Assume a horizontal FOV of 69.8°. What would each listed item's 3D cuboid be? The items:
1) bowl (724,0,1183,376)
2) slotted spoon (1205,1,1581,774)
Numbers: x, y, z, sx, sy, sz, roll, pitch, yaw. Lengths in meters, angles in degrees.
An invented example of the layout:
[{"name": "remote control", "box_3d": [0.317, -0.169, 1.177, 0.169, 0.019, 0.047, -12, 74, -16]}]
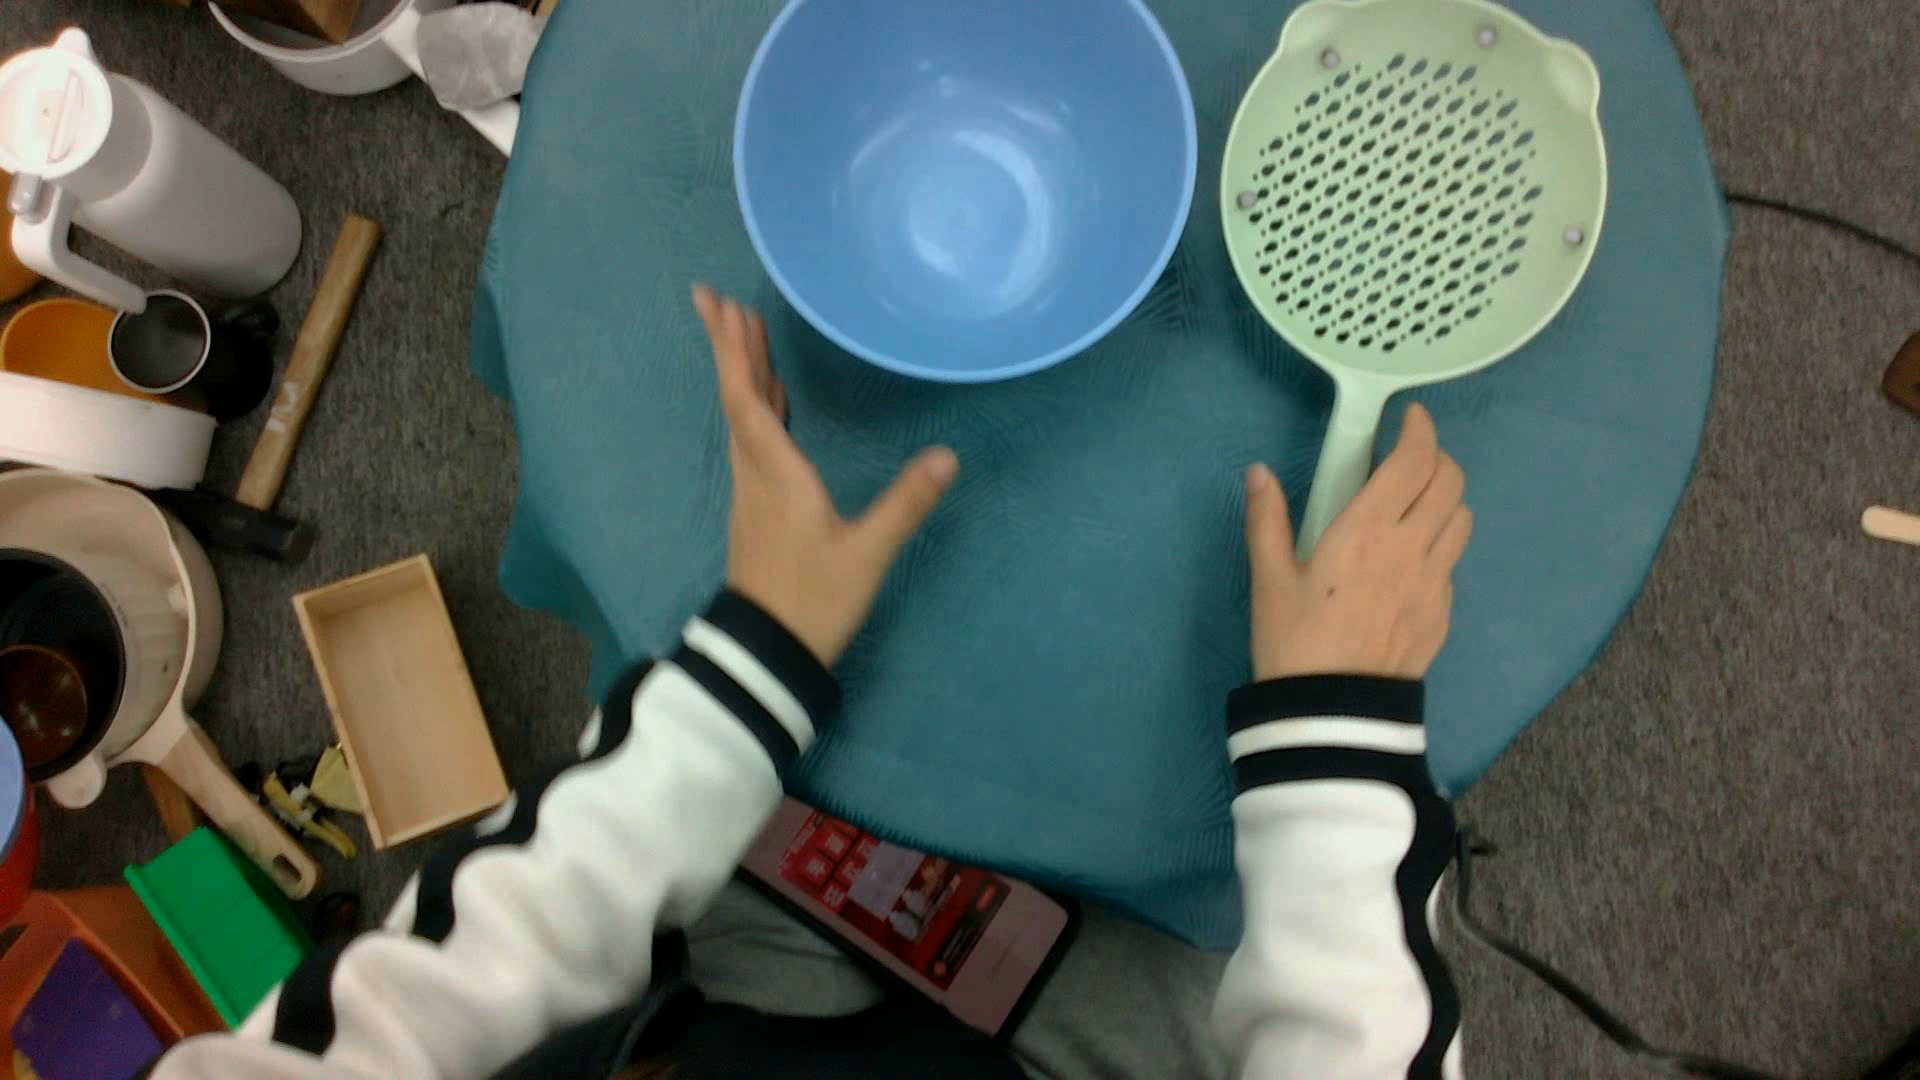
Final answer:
[{"name": "bowl", "box_3d": [-0.003, -0.162, 0.633, 0.196, 0.095, 0.196, 0, 83, -1]}, {"name": "slotted spoon", "box_3d": [0.176, -0.065, 0.641, 0.169, 0.075, 0.359, 13, 84, 4]}]
